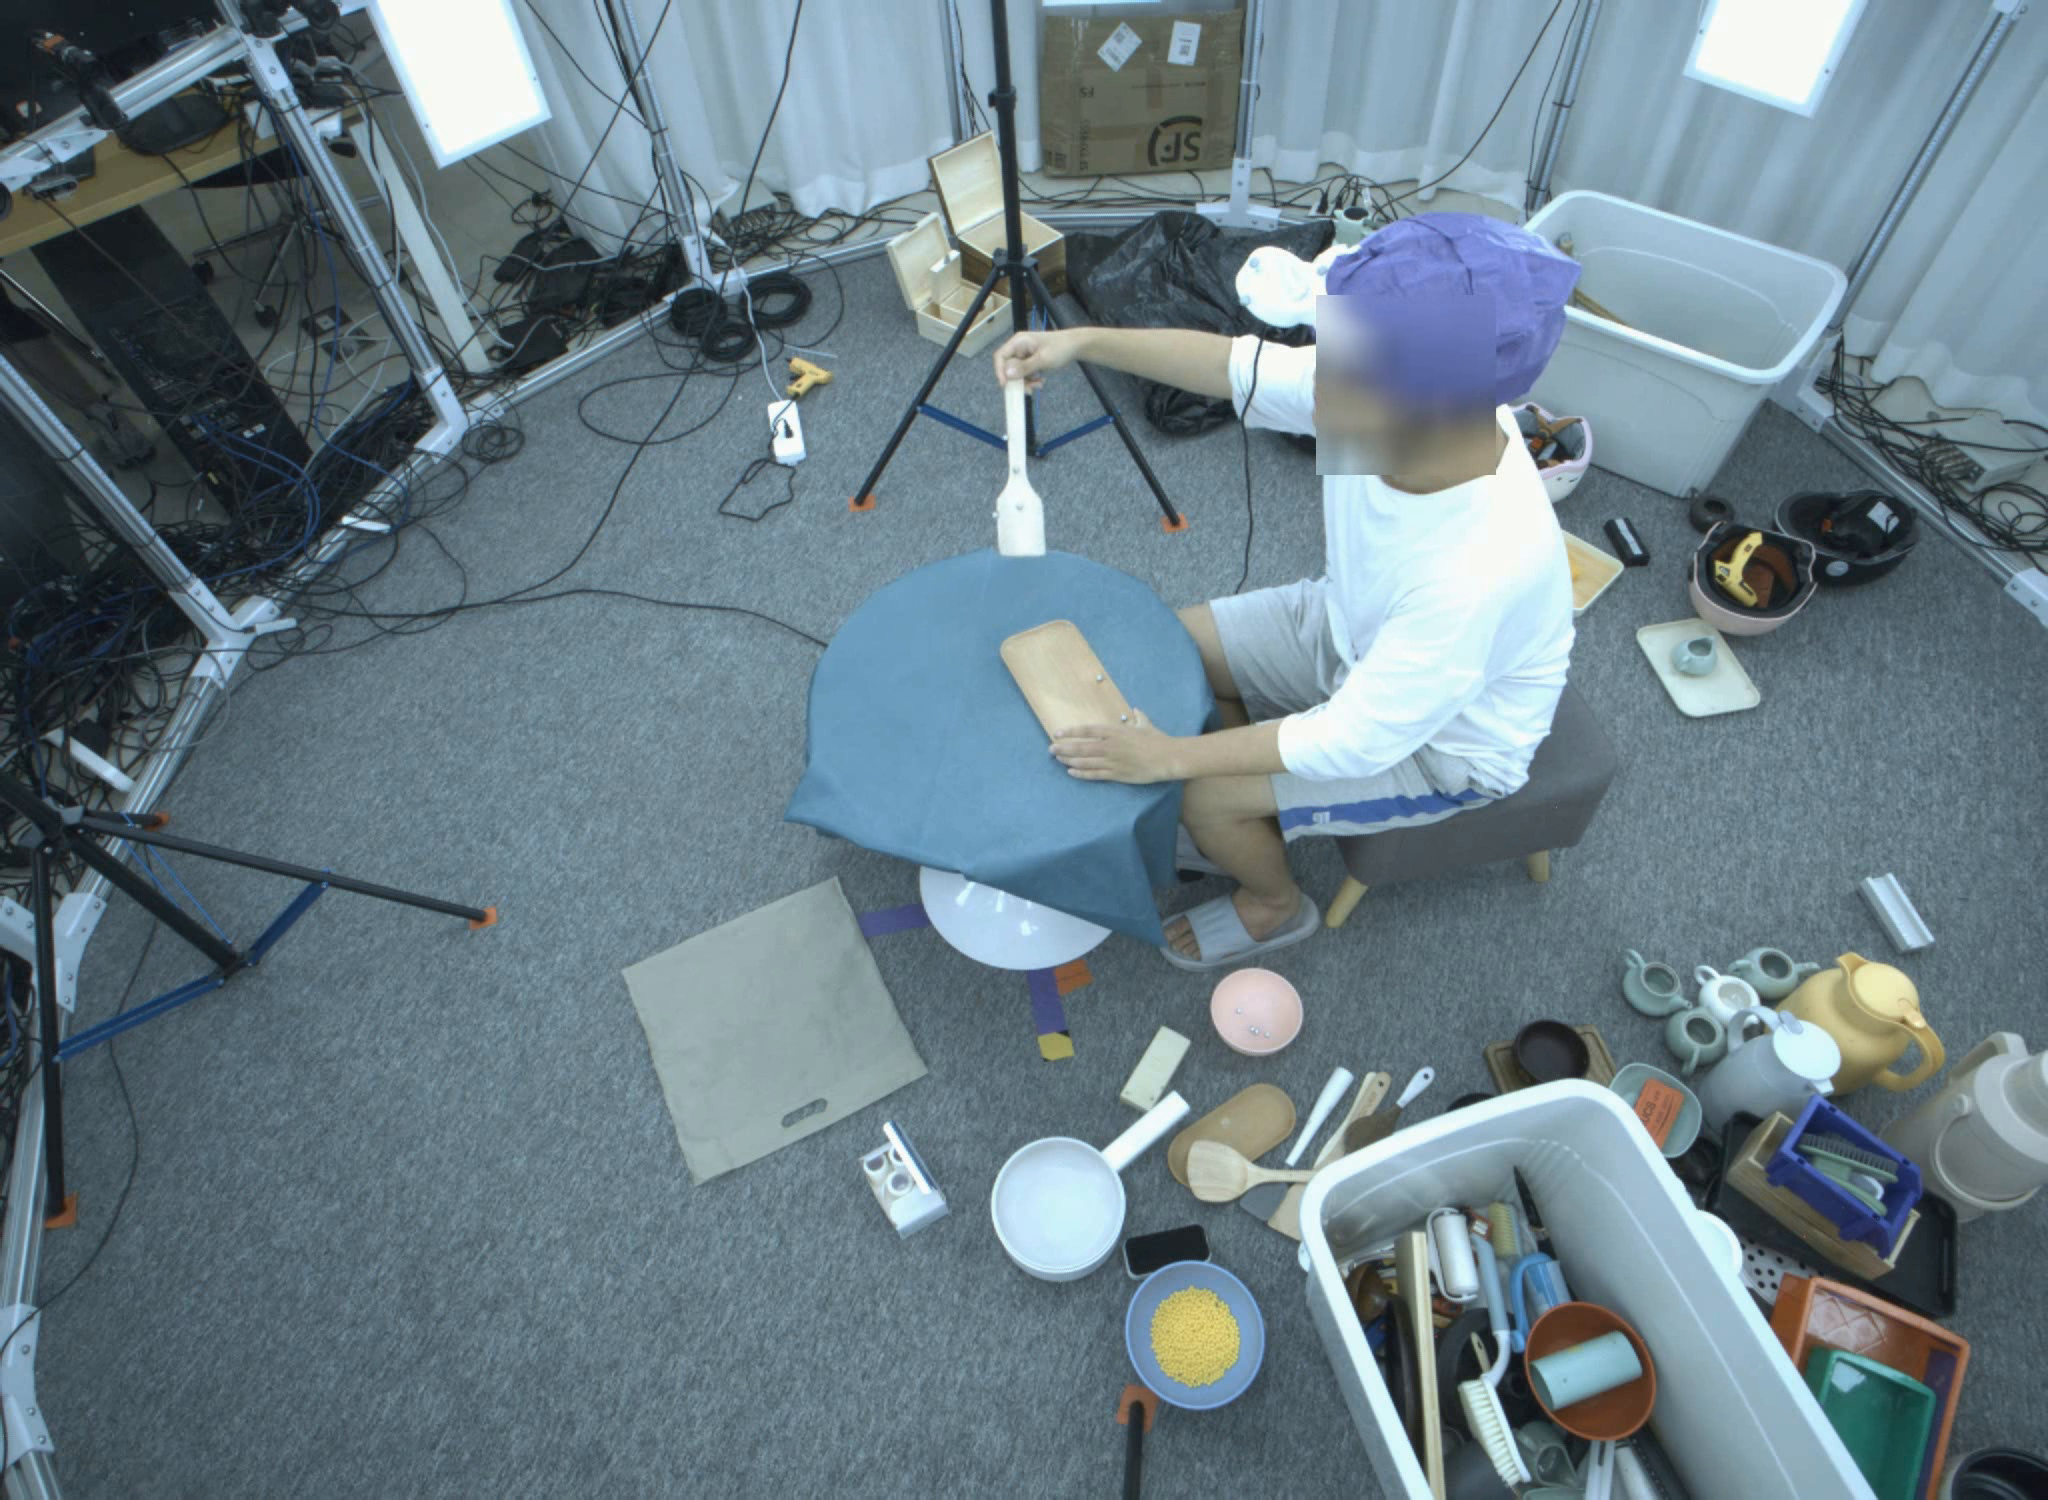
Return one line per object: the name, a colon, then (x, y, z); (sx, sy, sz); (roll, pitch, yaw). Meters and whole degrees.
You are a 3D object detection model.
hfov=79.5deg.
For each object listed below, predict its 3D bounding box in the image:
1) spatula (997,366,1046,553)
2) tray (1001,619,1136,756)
spatula: (-0.010, -0.432, 1.775); (0.073, 0.010, 0.293); (-4, 93, -19)
tray: (0.064, -0.096, 1.842); (0.131, 0.023, 0.246); (-19, 55, -15)
